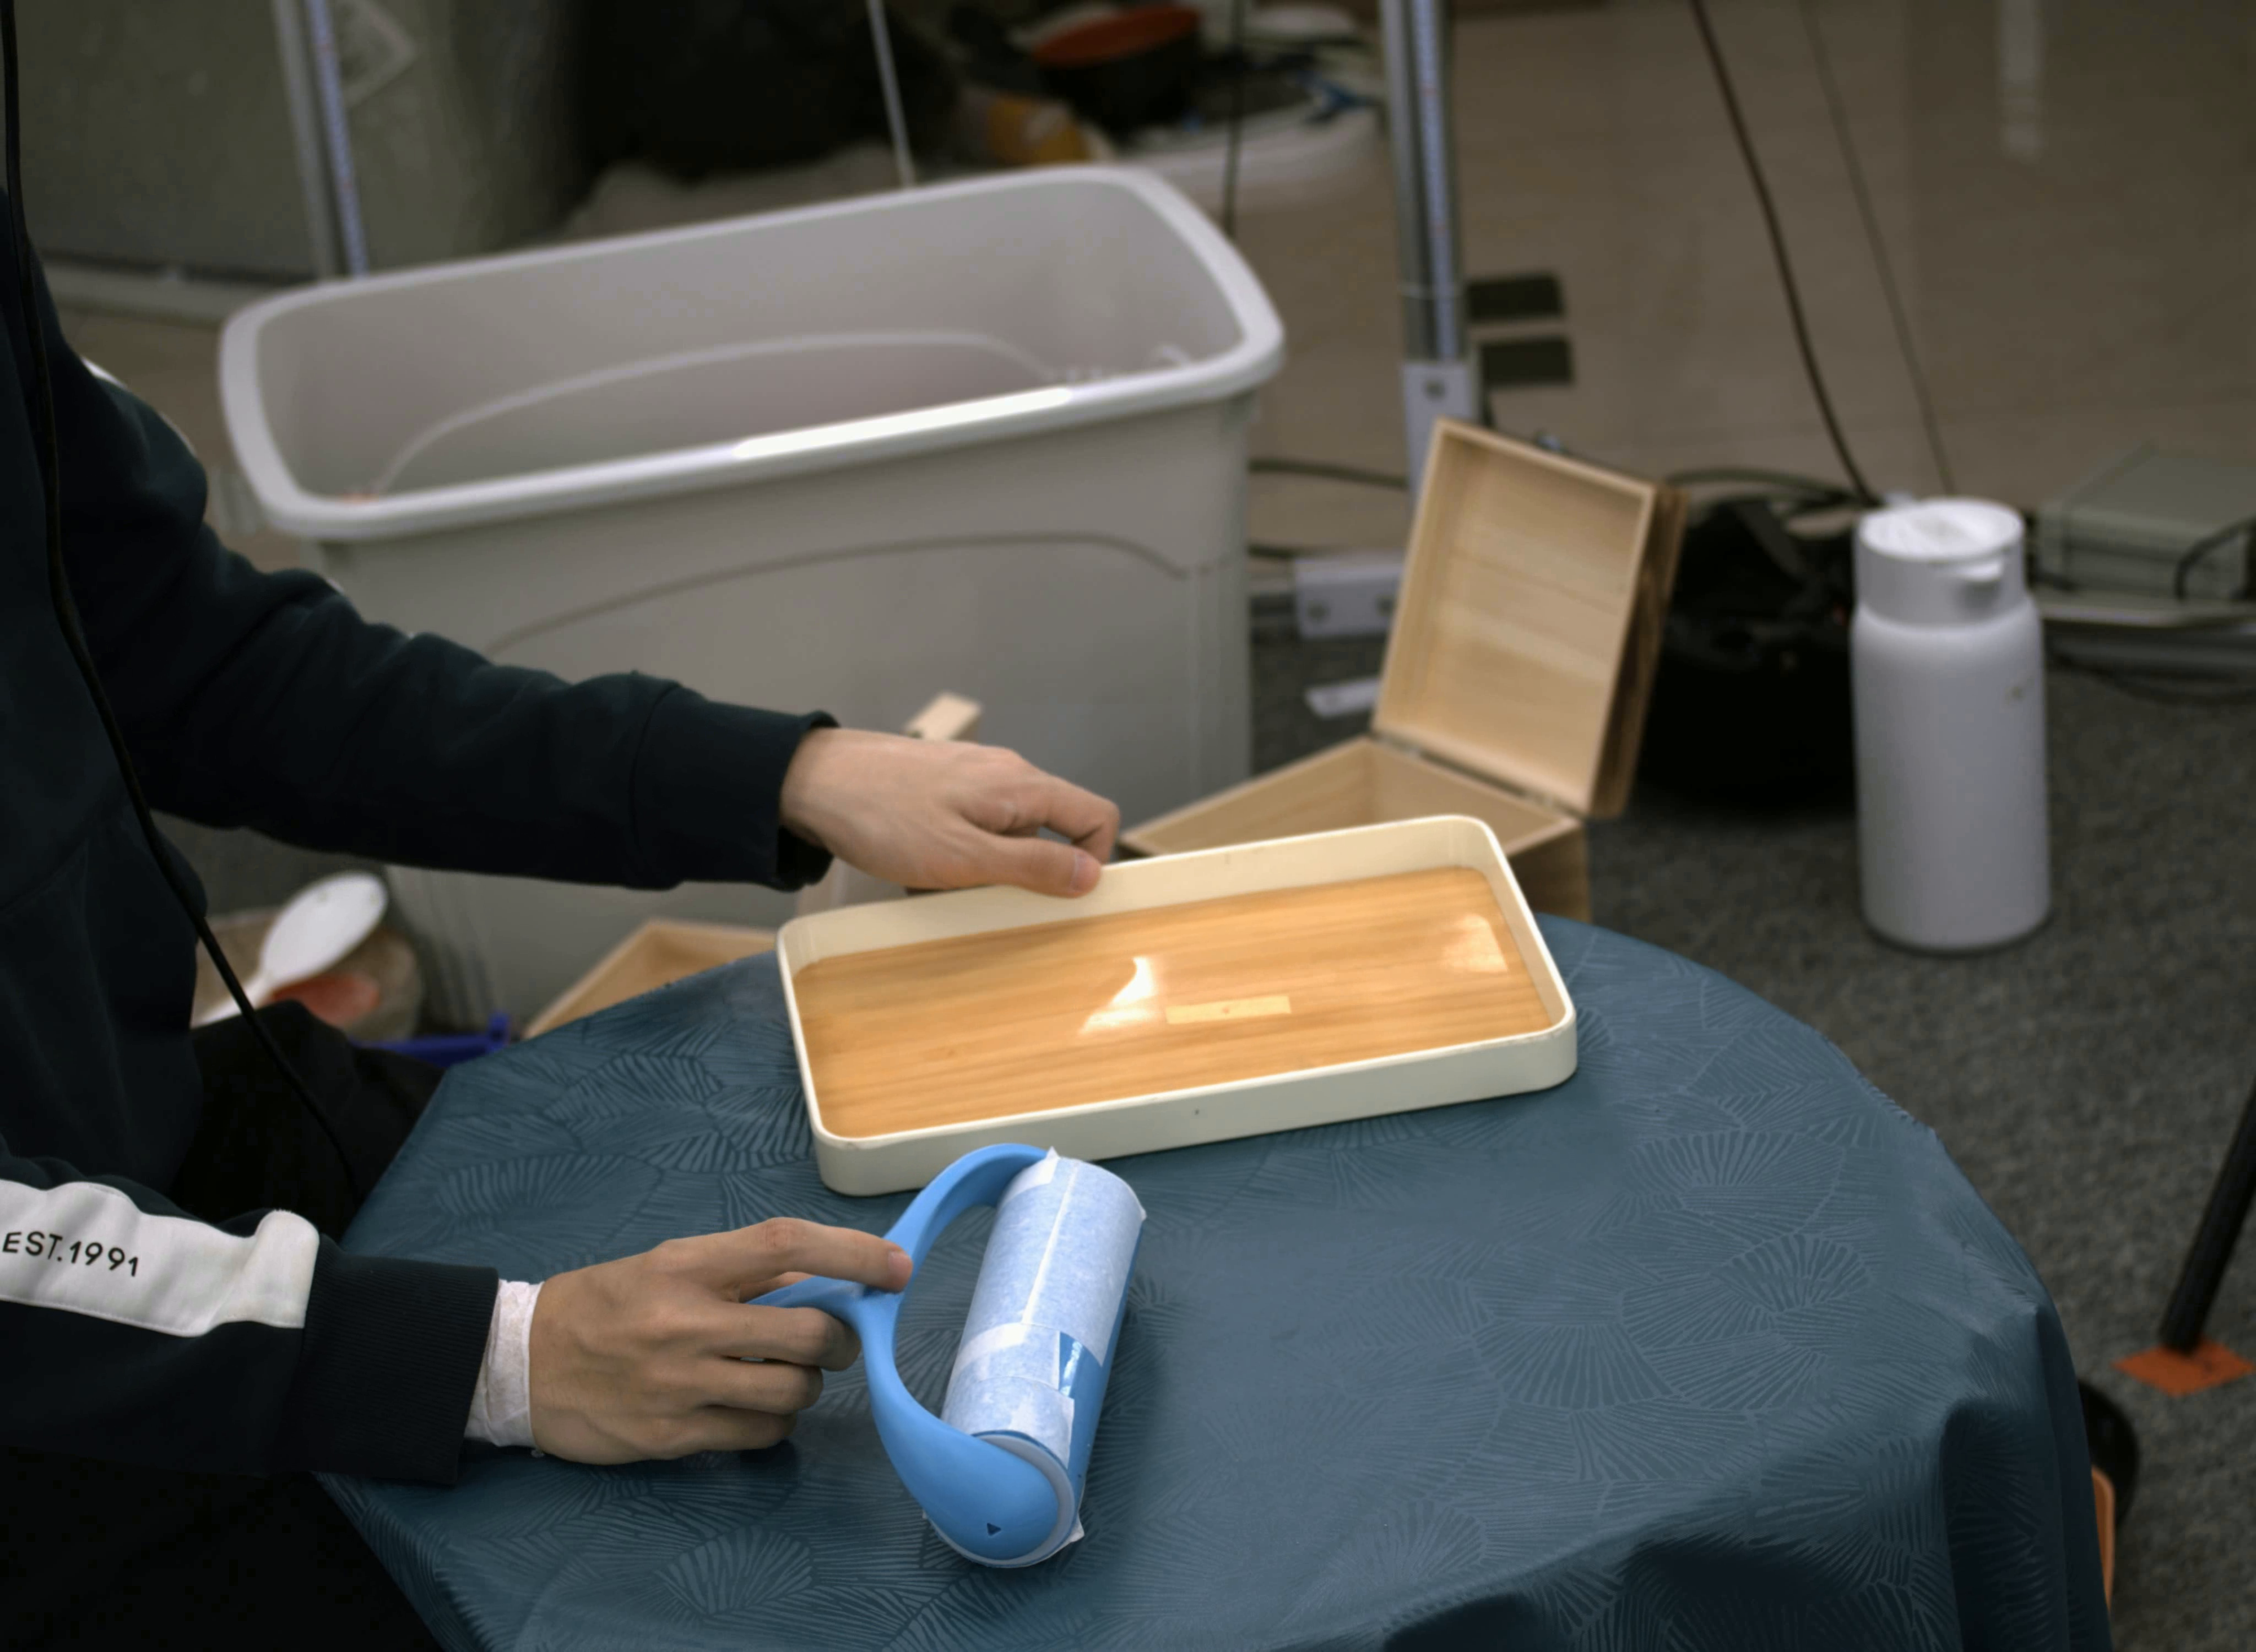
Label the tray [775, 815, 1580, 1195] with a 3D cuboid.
[{"bbox_3d":[0.016,0.069,2.247,0.300,0.028,0.188,-9,28,-5],"label":"tray"}]

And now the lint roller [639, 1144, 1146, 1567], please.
[{"bbox_3d":[-0.087,0.188,1.995,0.180,0.069,0.225,-3,27,4],"label":"lint roller"}]
